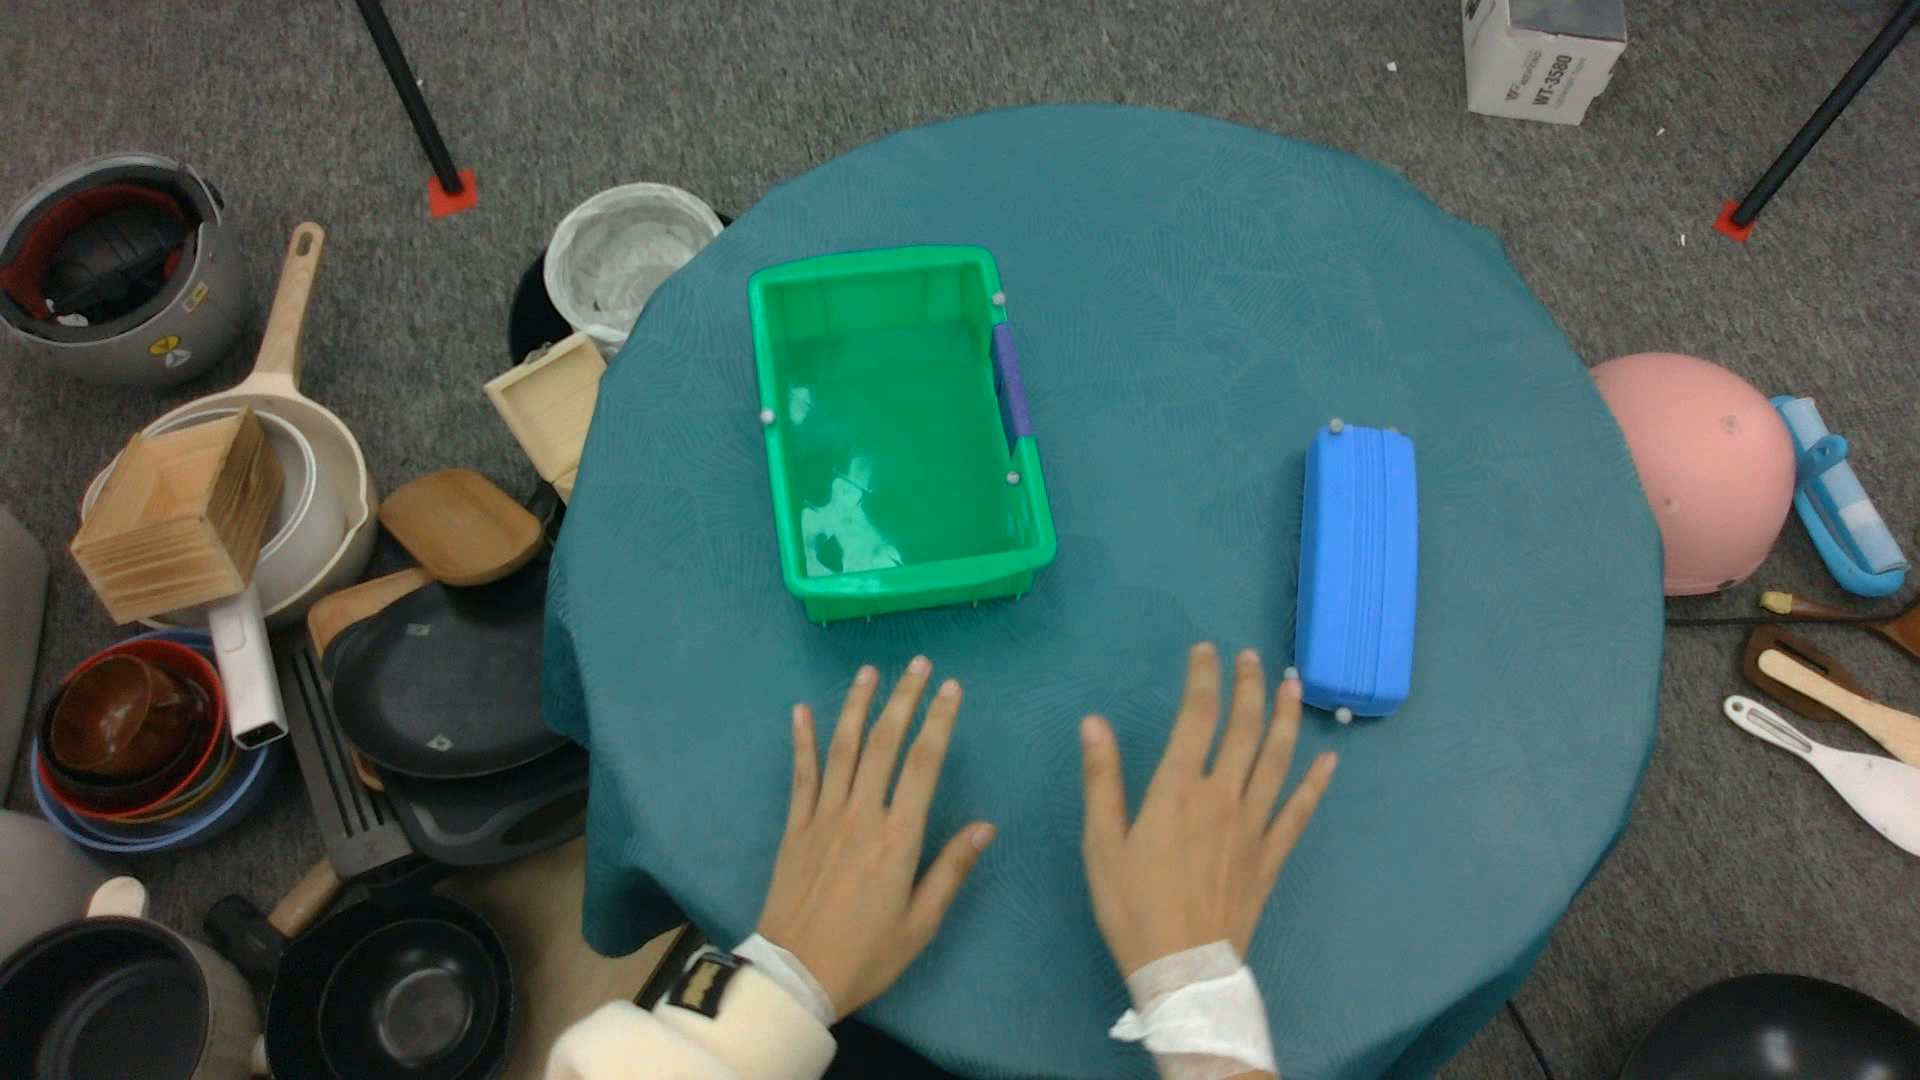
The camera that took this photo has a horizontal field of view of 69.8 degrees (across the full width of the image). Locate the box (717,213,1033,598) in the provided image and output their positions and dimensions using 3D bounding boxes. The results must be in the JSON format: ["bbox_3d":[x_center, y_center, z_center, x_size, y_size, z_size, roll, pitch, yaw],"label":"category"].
[{"bbox_3d":[-0.049,-0.071,0.740,0.139,0.065,0.211,-8,65,-9],"label":"box"}]

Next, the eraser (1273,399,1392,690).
[{"bbox_3d":[0.198,-0.003,0.729,0.054,0.047,0.163,9,64,1],"label":"eraser"}]
